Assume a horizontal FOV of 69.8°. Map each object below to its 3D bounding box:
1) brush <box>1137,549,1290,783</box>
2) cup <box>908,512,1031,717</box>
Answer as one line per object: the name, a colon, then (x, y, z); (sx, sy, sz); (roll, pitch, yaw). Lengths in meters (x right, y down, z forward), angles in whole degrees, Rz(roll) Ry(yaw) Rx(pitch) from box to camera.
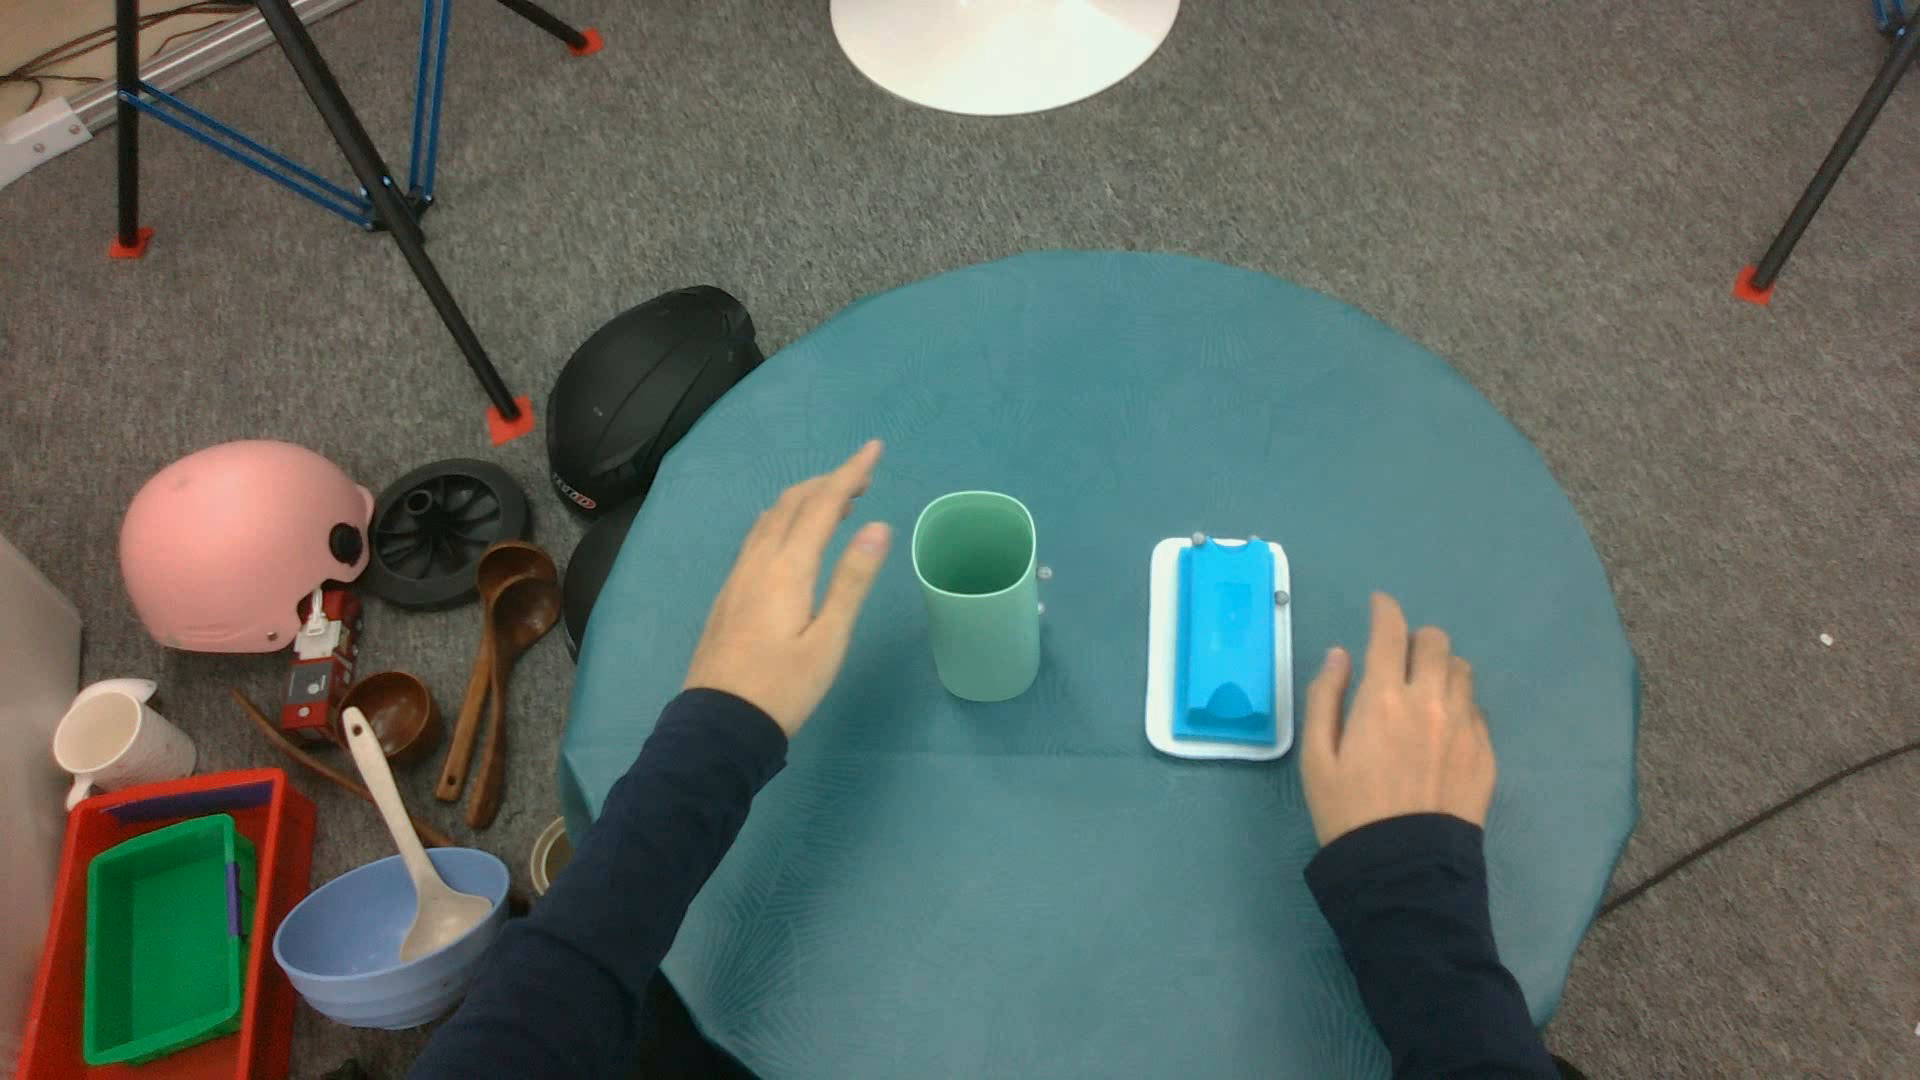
brush: (0.145, 0.063, 0.775); (0.084, 0.055, 0.144); (3, 56, 10)
cup: (0.008, 0.046, 0.762); (0.067, 0.132, 0.067); (-2, 60, 3)
